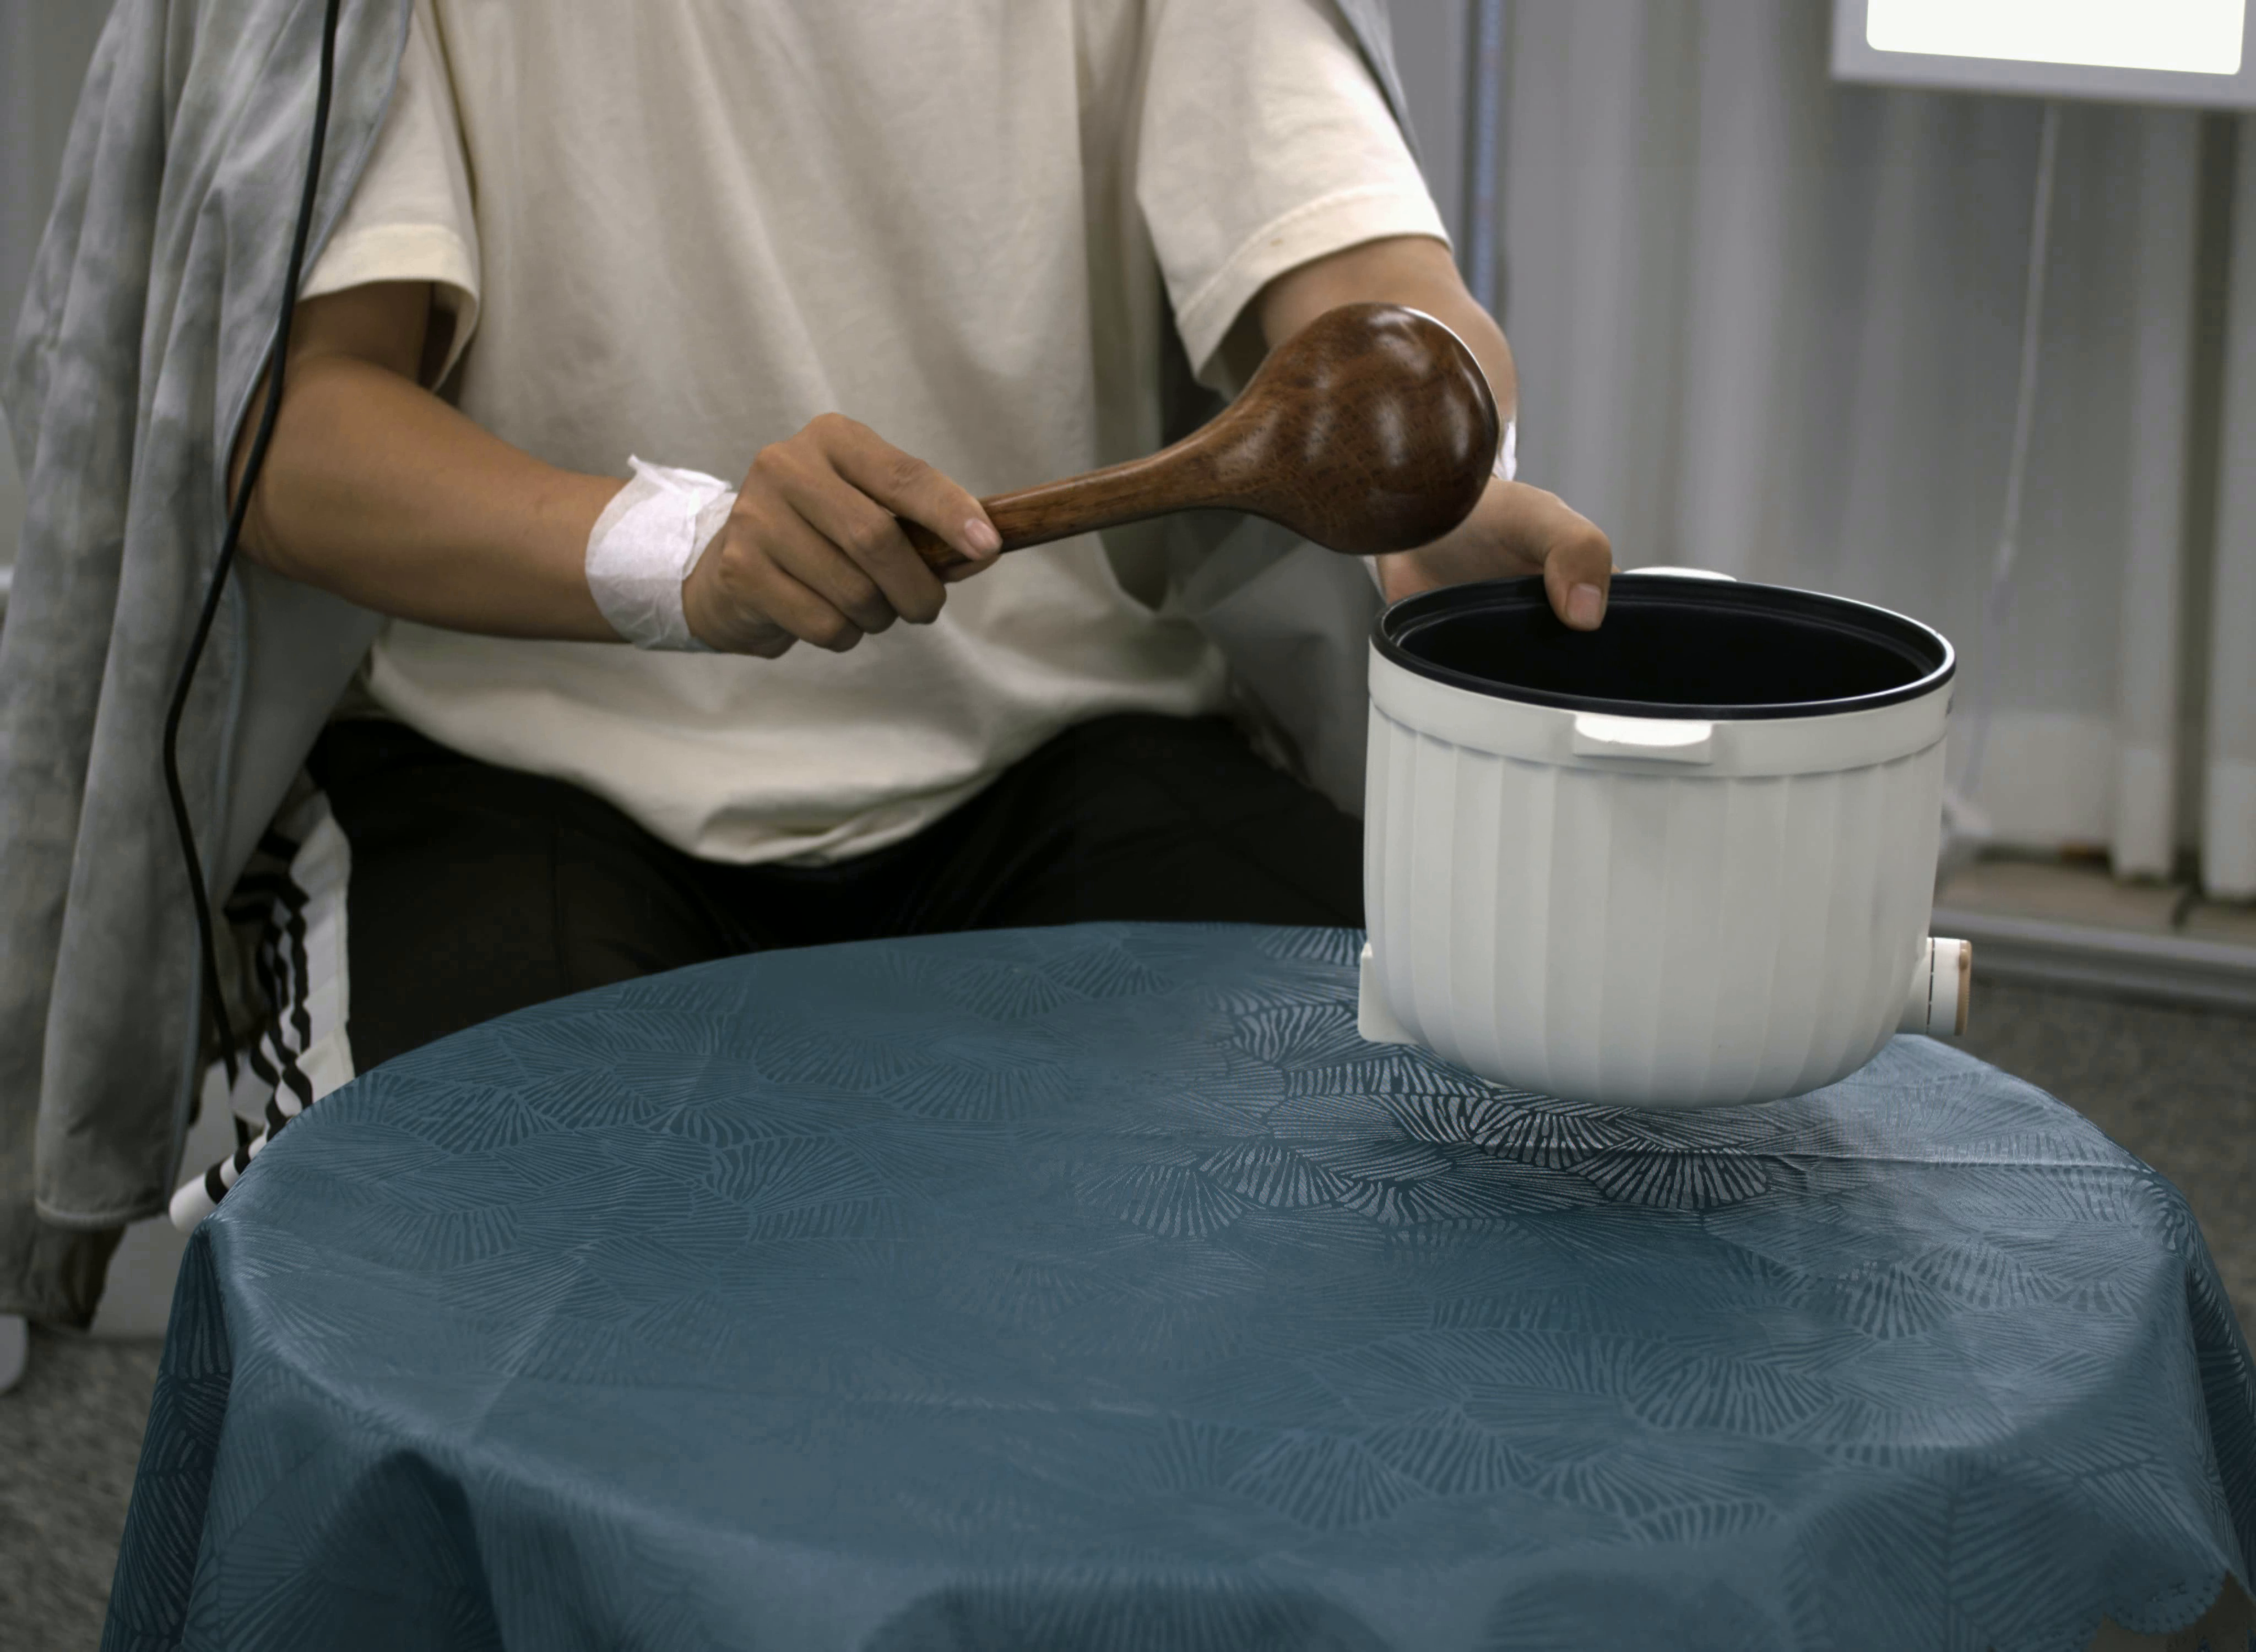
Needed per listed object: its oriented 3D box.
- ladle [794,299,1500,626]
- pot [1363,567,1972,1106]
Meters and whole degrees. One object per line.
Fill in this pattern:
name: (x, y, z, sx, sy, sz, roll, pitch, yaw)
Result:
ladle: (0.004, -0.109, 1.738, 0.272, 0.082, 0.077, -13, -4, 44)
pot: (0.168, 0.005, 1.646, 0.189, 0.144, 0.239, 1, 16, 7)
